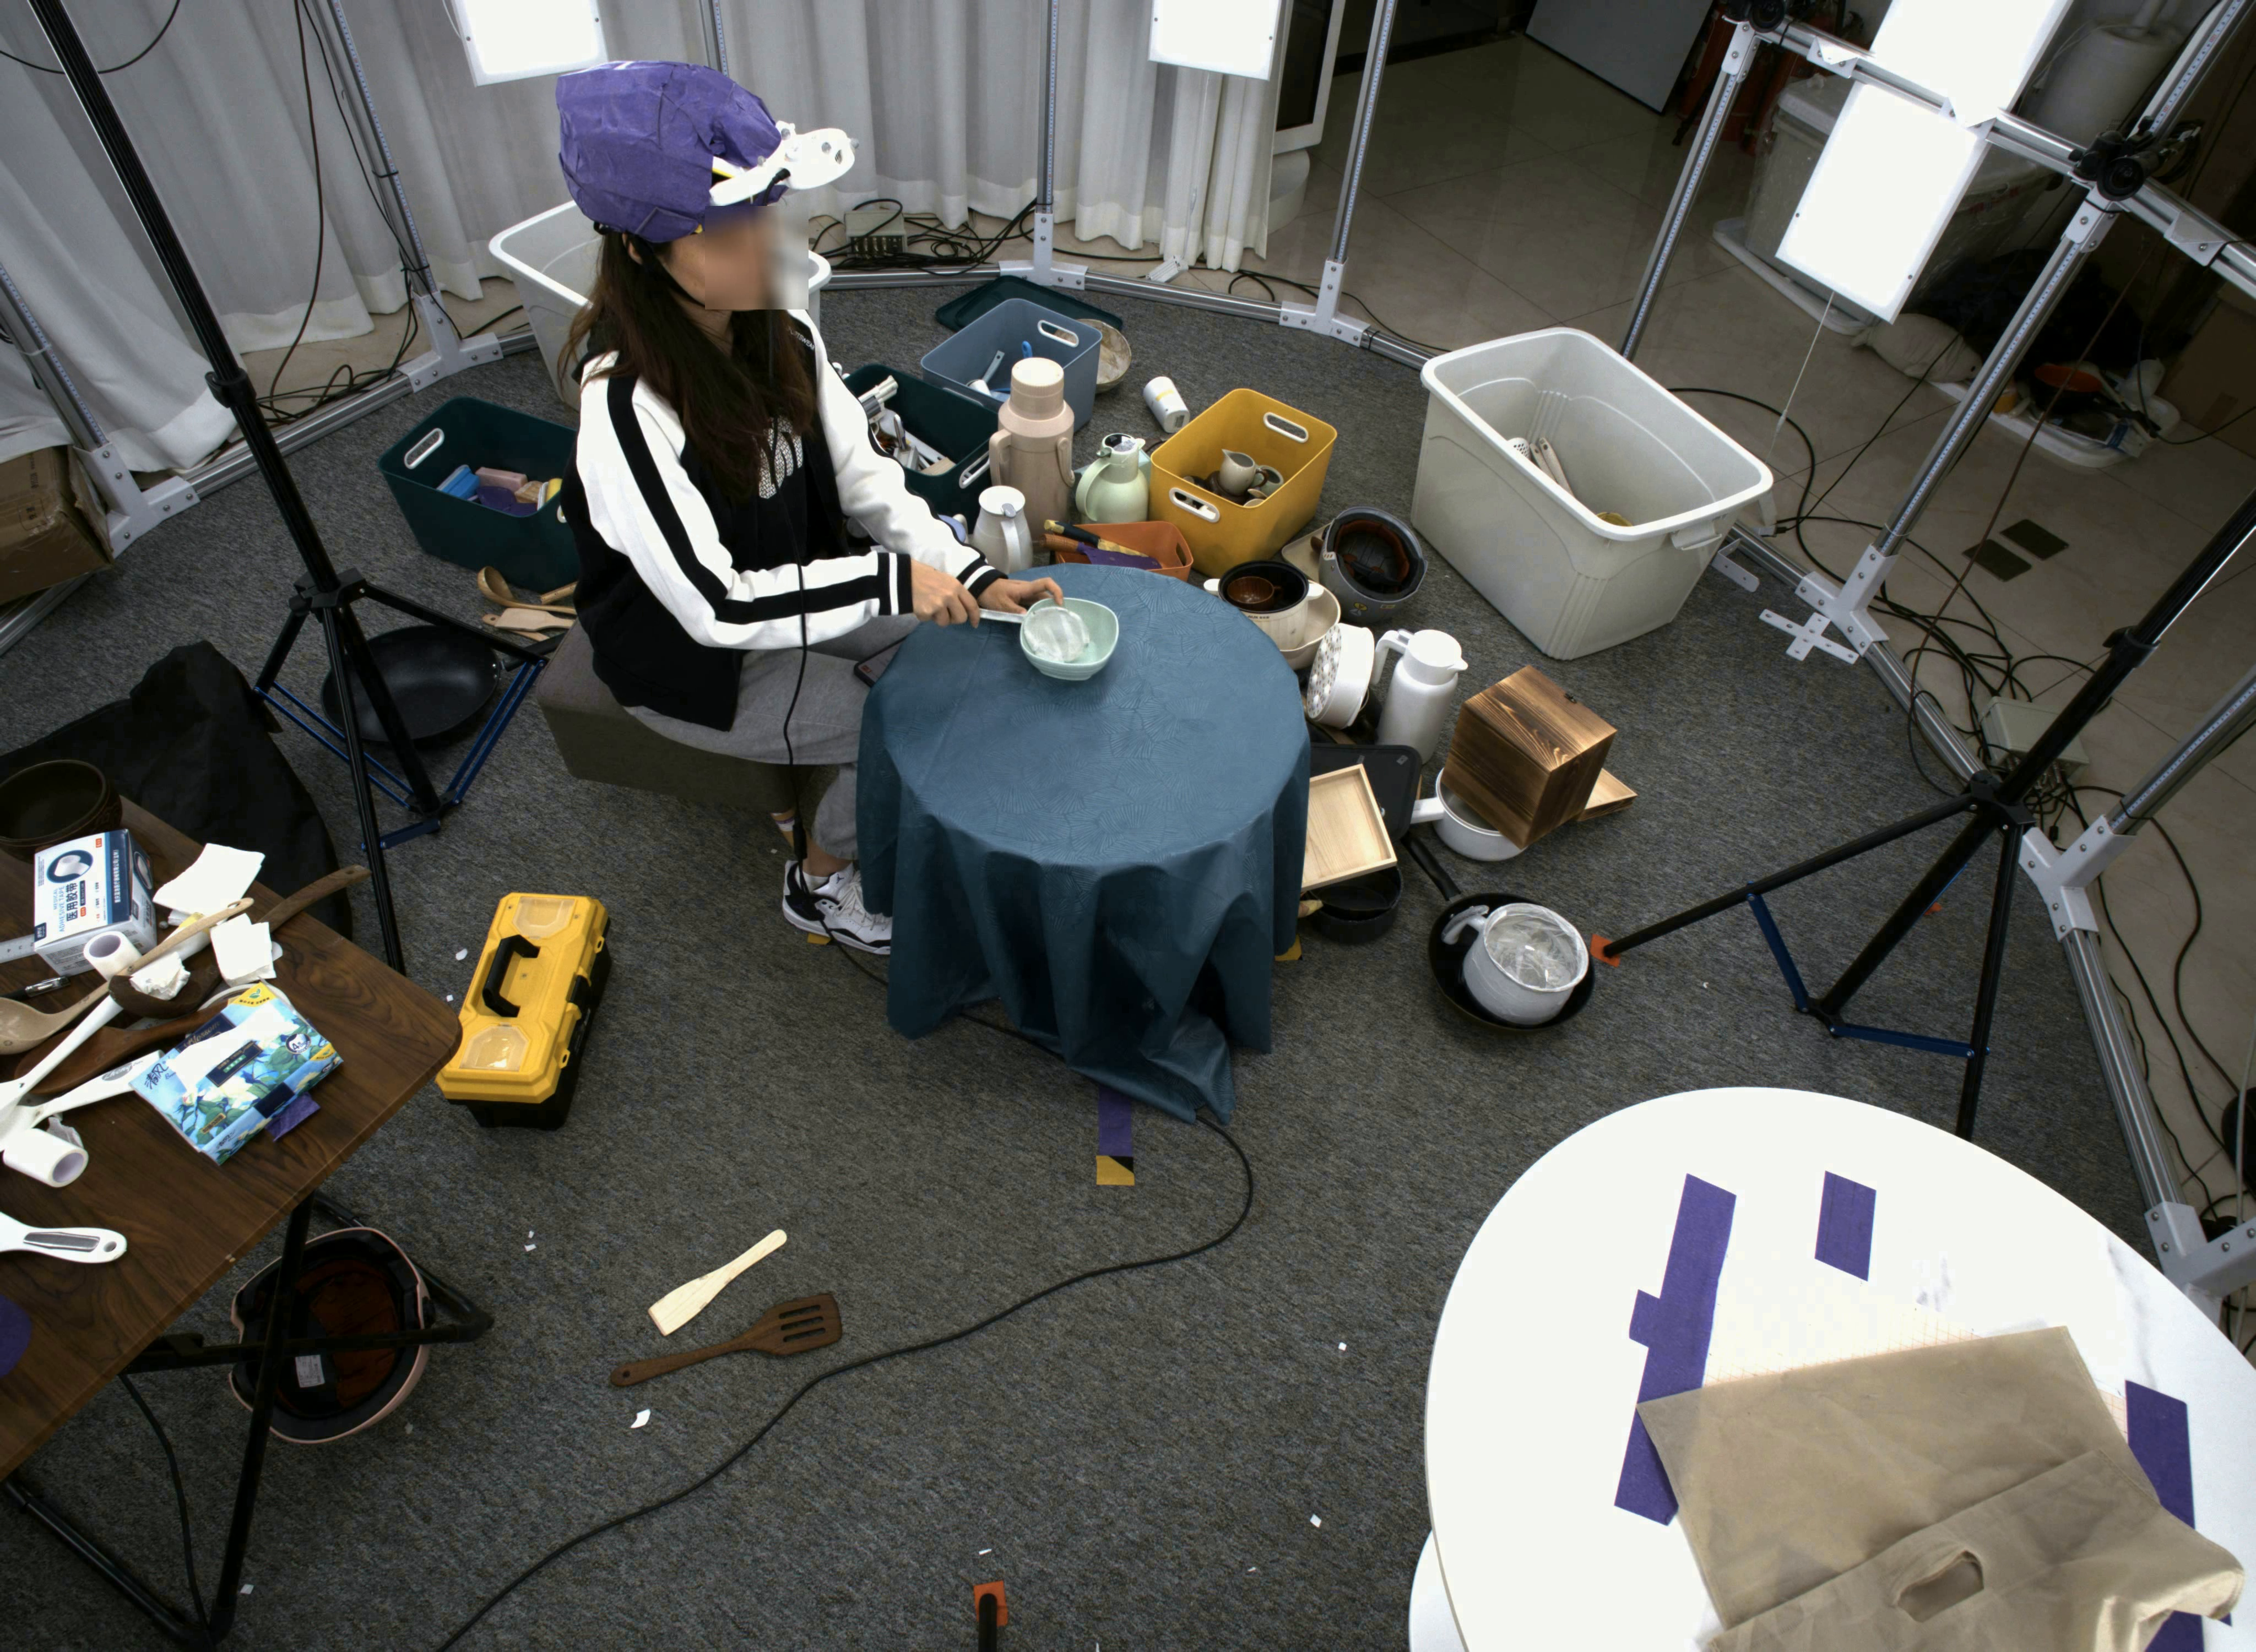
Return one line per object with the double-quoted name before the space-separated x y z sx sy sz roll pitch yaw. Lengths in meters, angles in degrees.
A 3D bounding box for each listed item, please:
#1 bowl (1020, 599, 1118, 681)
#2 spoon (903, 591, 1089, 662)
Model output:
"bowl" -0.086 -0.260 1.856 0.151 0.057 0.155 2 50 -3
"spoon" -0.176 -0.281 1.767 0.275 0.099 0.061 3 46 -40
